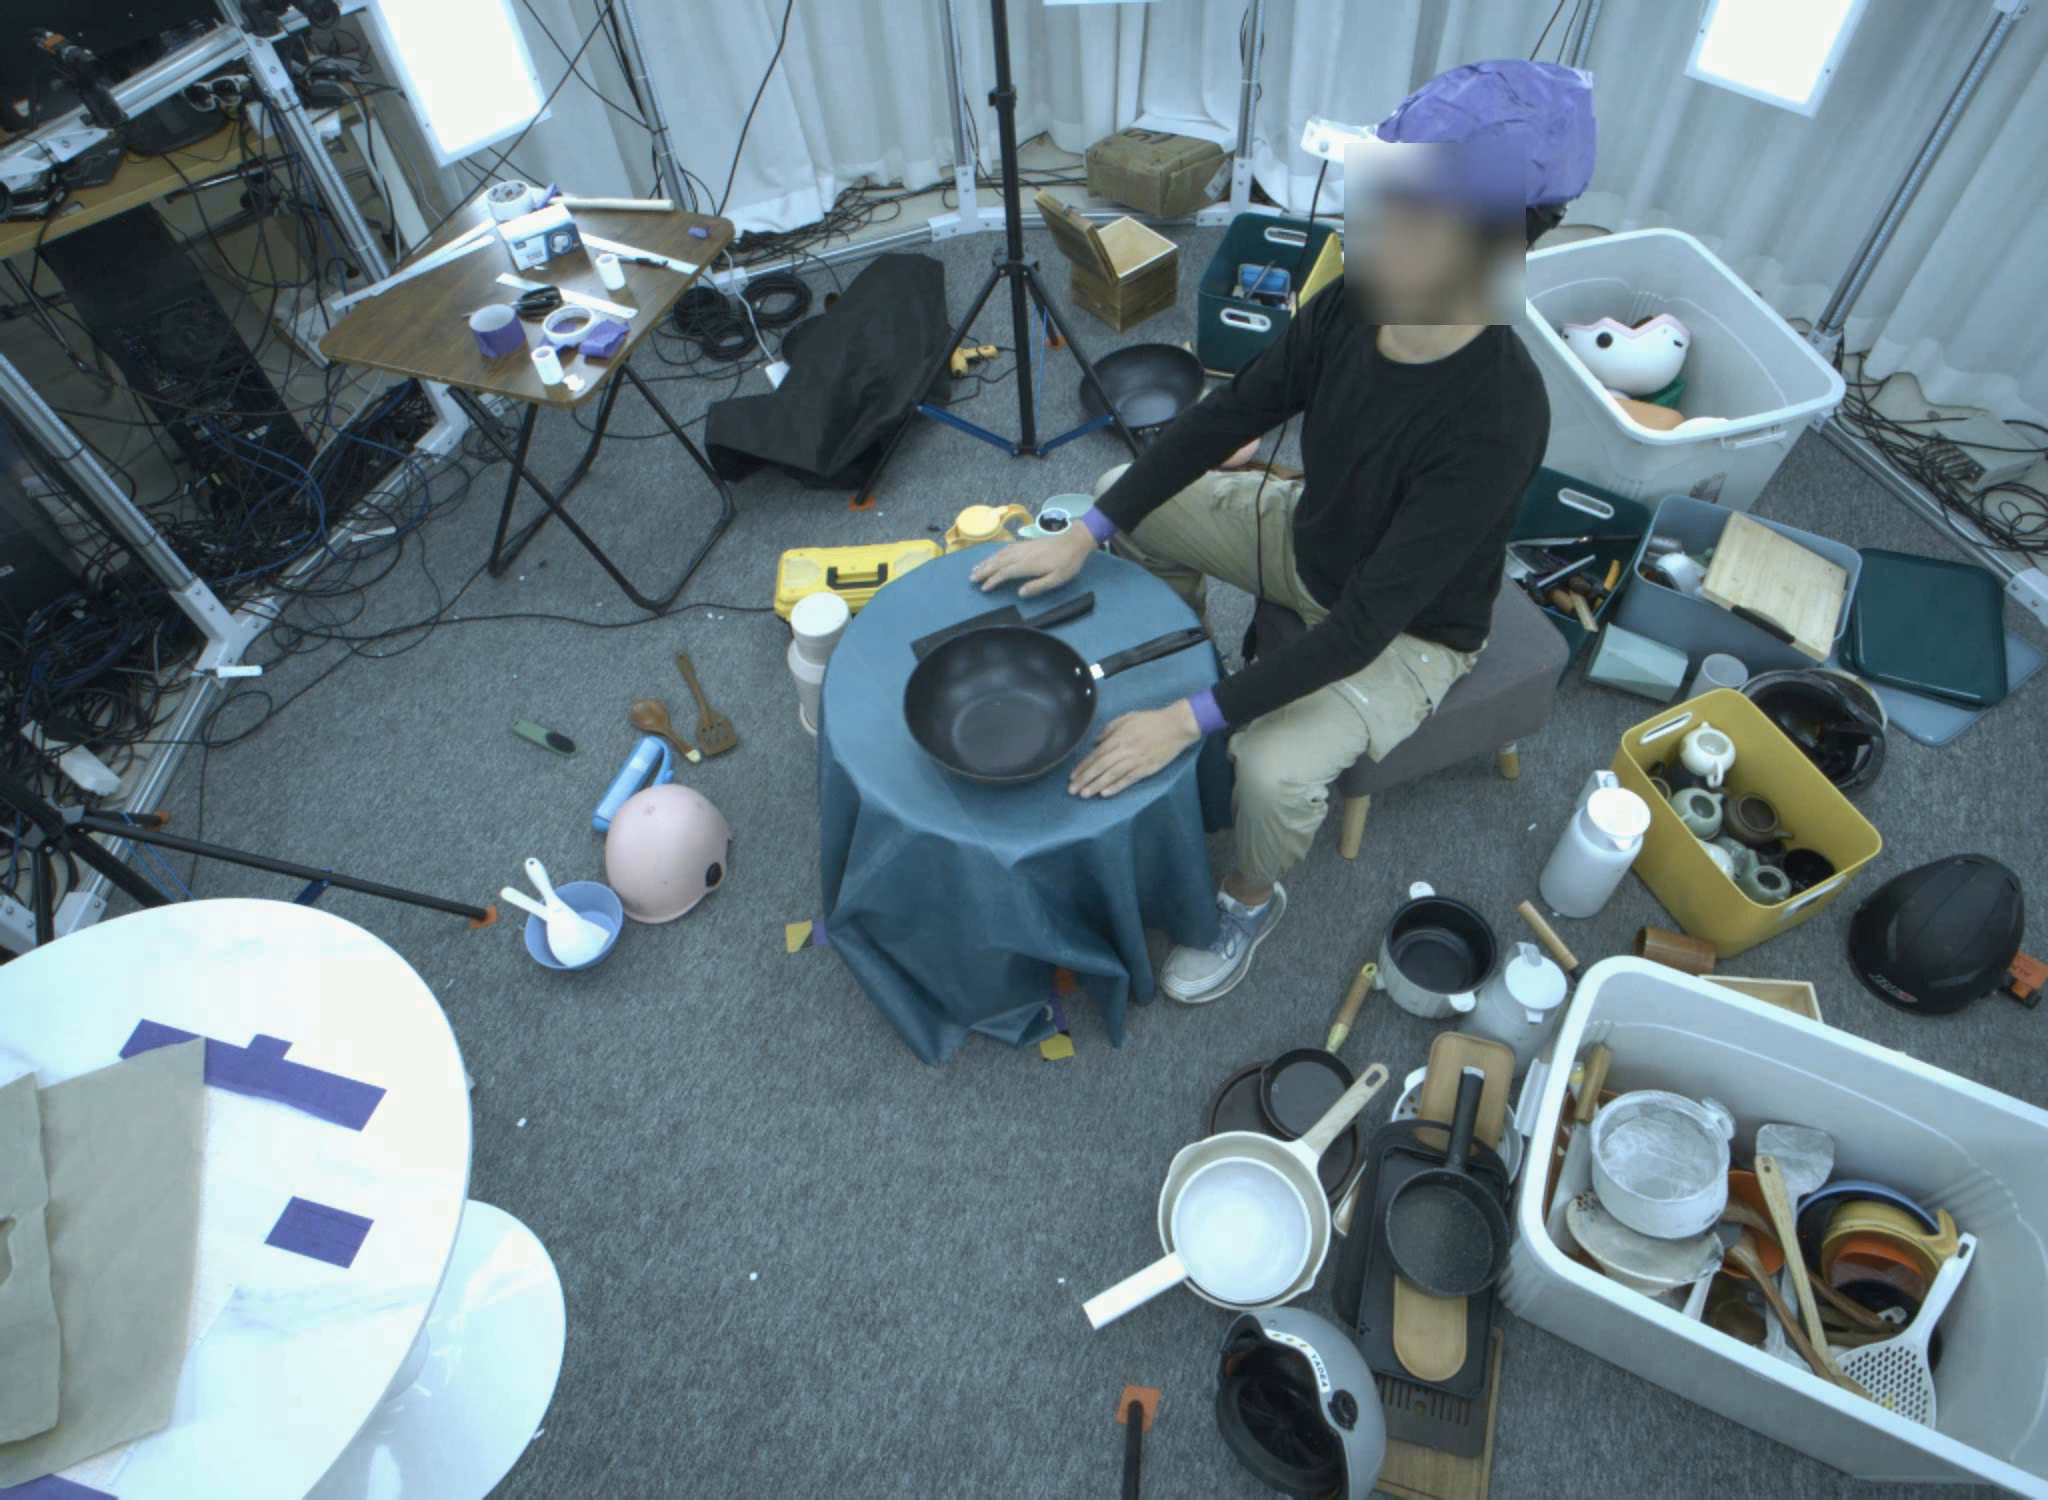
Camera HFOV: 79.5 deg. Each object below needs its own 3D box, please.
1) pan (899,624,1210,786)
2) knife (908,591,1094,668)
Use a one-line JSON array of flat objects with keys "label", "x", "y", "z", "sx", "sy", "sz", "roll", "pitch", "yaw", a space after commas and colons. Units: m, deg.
[{"label": "pan", "x": 0.050, "y": -0.080, "z": 1.788, "sx": 0.466, "sy": 0.088, "sz": 0.283, "roll": -18, "pitch": 56, "yaw": -11}, {"label": "knife", "x": -0.032, "y": -0.196, "z": 1.916, "sx": 0.304, "sy": 0.021, "sz": 0.079, "roll": -17, "pitch": 55, "yaw": -8}]
